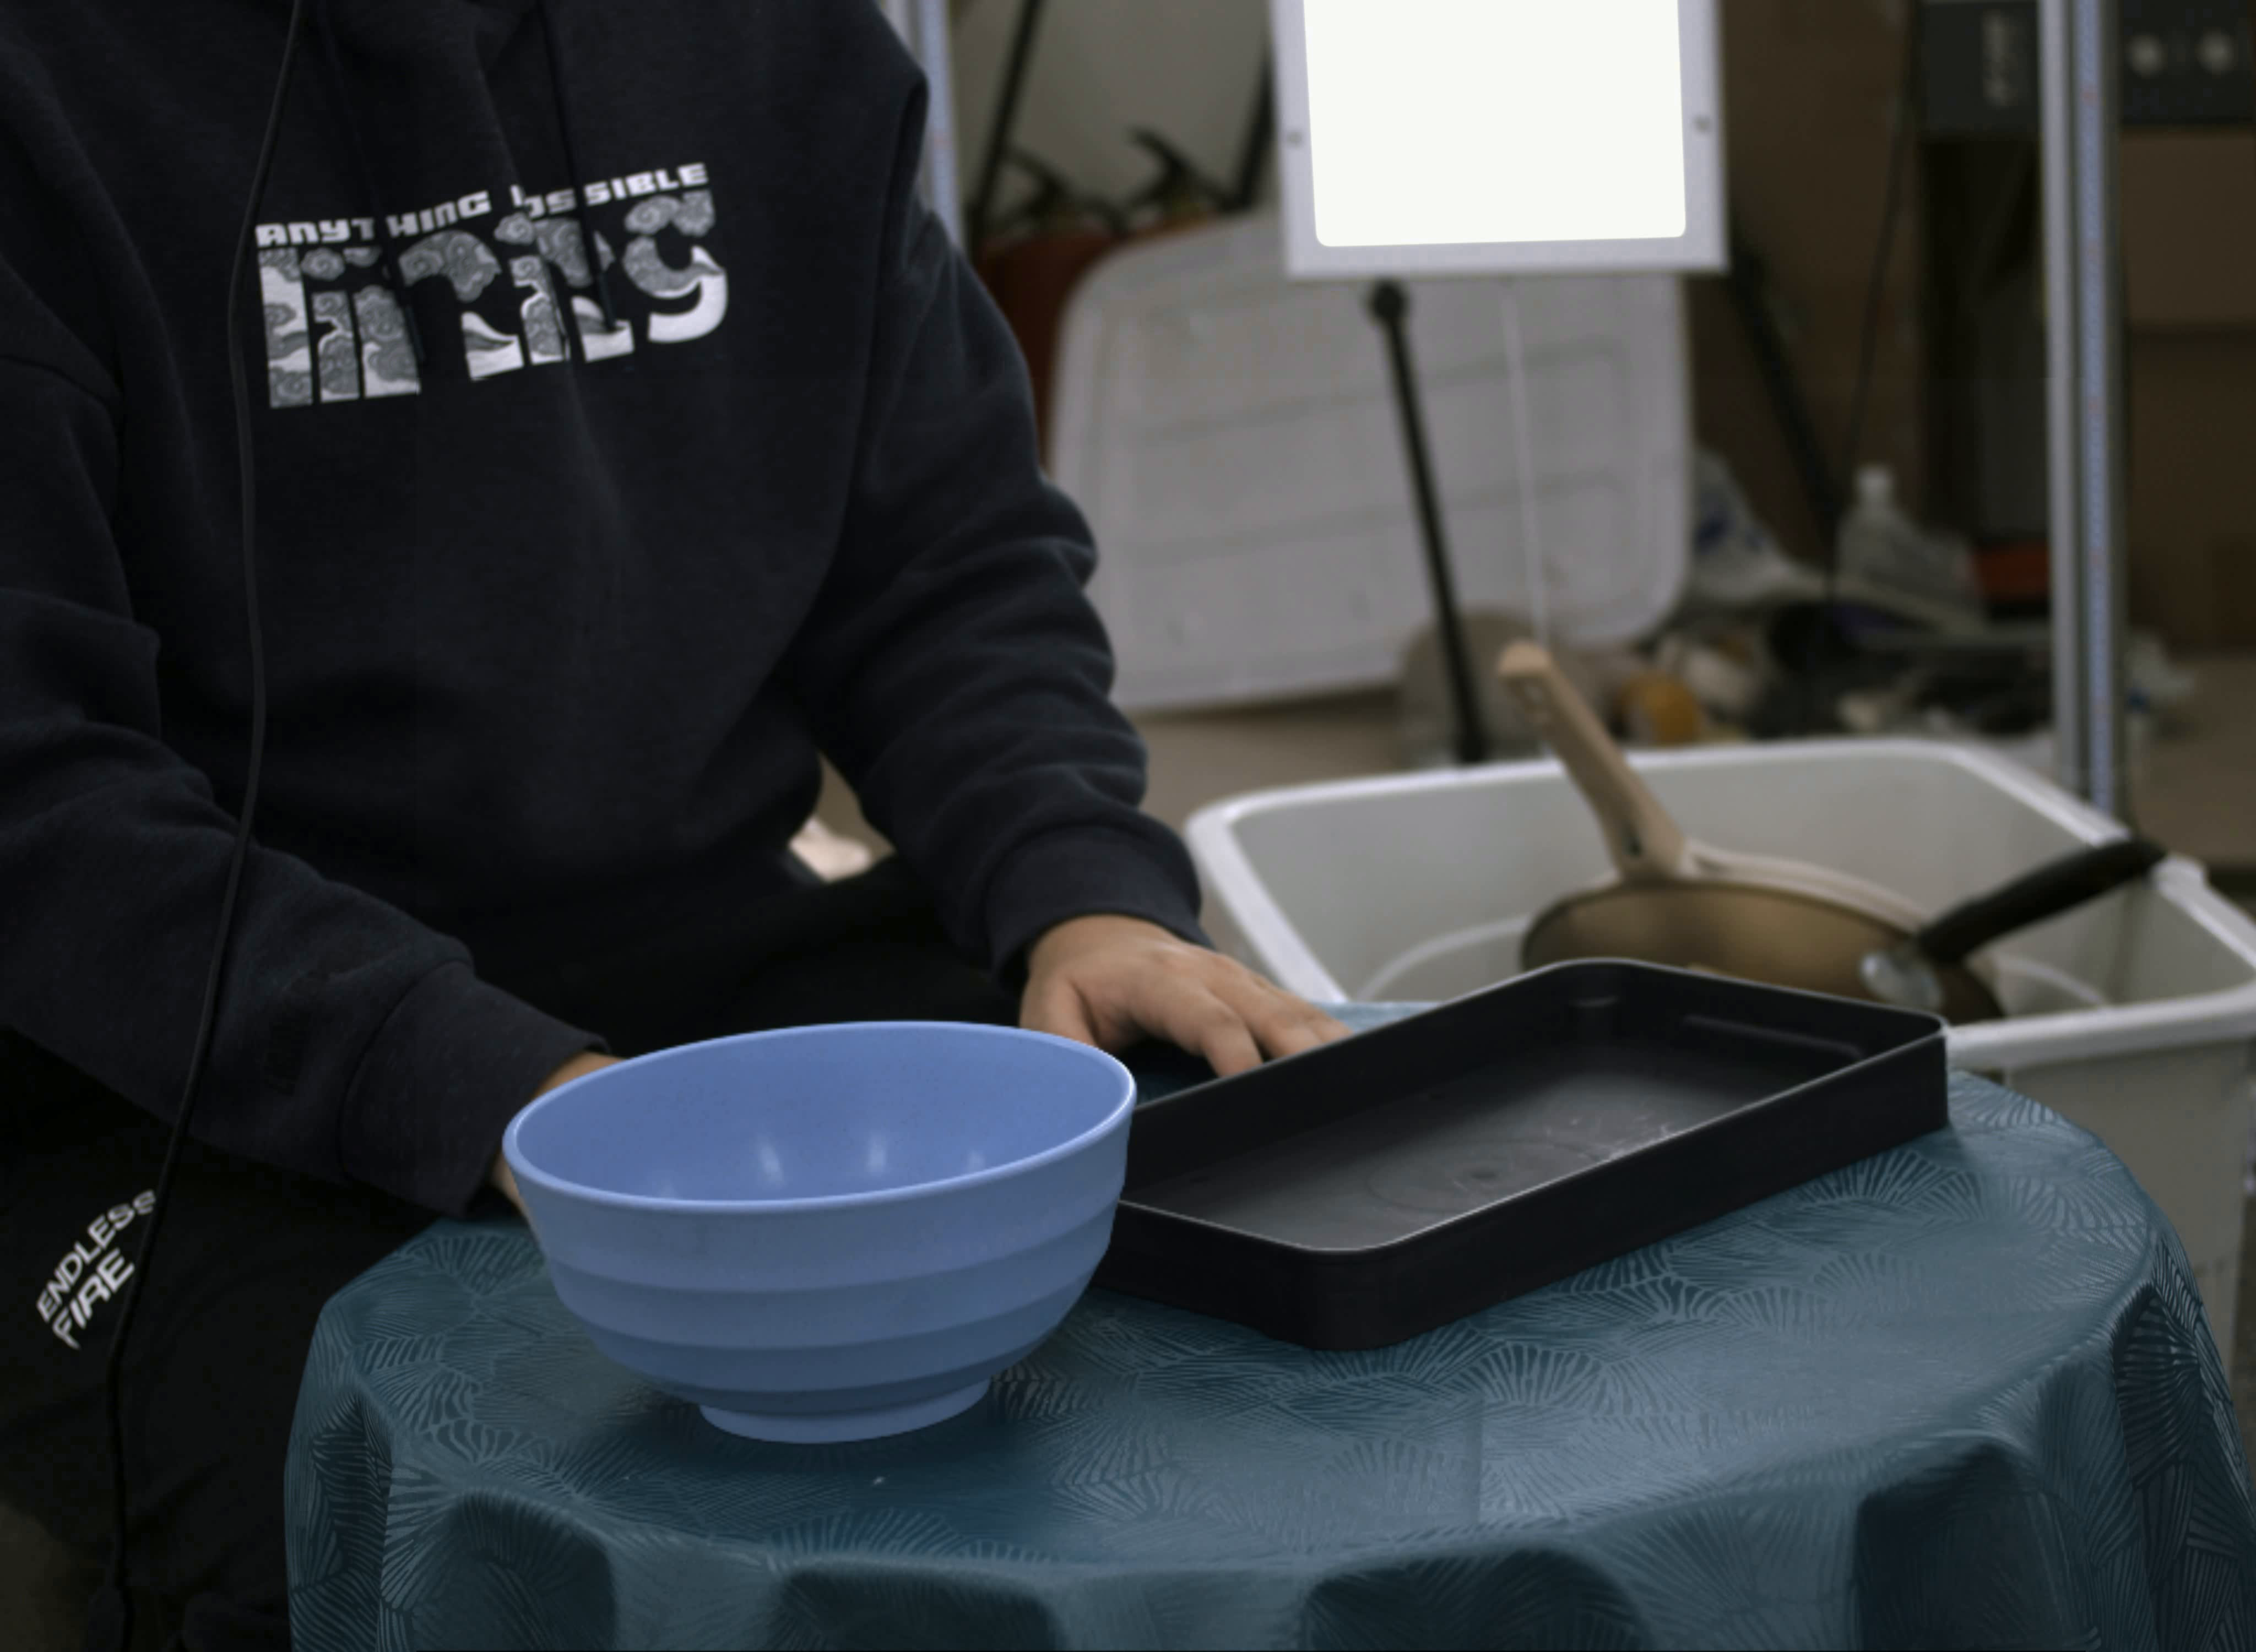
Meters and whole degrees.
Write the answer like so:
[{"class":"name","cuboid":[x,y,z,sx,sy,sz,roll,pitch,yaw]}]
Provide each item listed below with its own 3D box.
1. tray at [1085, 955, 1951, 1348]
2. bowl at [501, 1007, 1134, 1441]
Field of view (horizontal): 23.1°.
[{"class":"tray","cuboid":[0.120,0.105,1.865,0.310,0.037,0.188,-16,17,-40]},{"class":"bowl","cuboid":[-0.091,0.129,1.707,0.196,0.096,0.196,-6,15,0]}]
